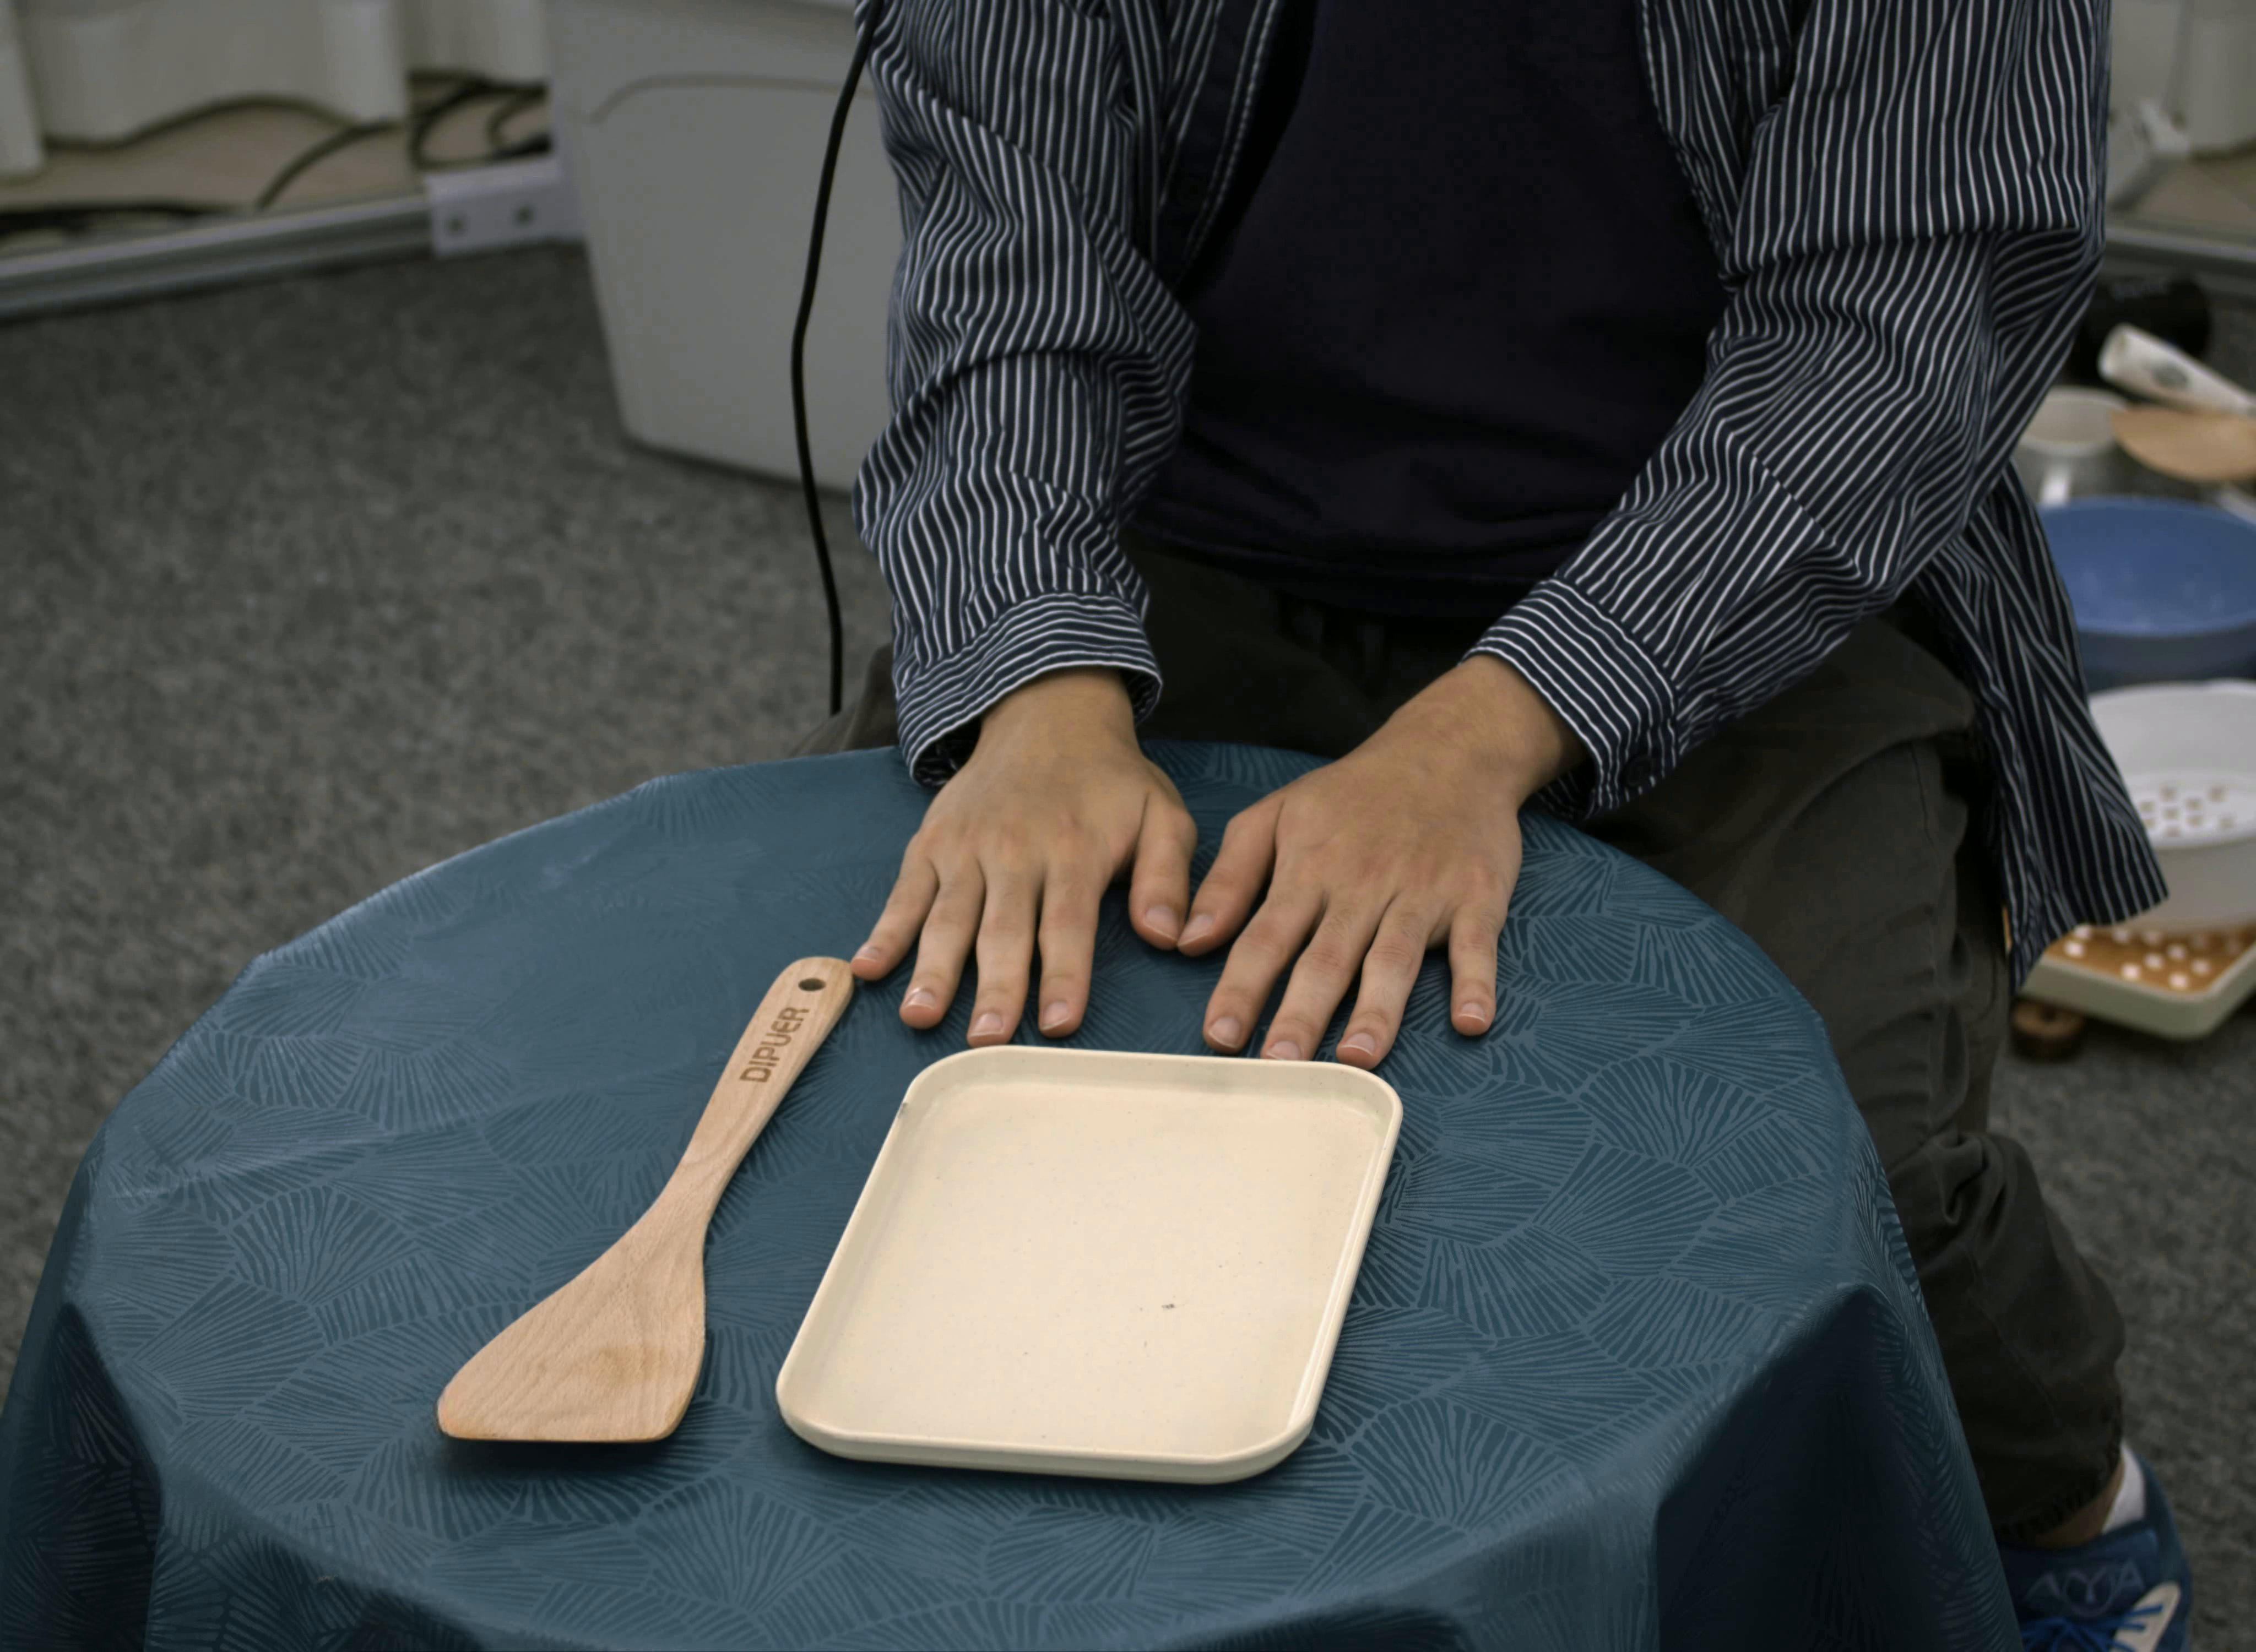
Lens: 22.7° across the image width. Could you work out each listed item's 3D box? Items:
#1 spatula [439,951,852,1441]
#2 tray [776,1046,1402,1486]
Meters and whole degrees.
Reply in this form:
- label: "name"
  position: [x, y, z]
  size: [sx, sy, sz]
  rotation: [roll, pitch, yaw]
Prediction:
- label: "spatula"
  position: [-0.142, 0.119, 1.857]
  size: [0.079, 0.016, 0.333]
  rotation: [4, 28, 12]
- label: "tray"
  position: [-0.009, 0.140, 1.802]
  size: [0.170, 0.017, 0.244]
  rotation: [3, 28, 11]
